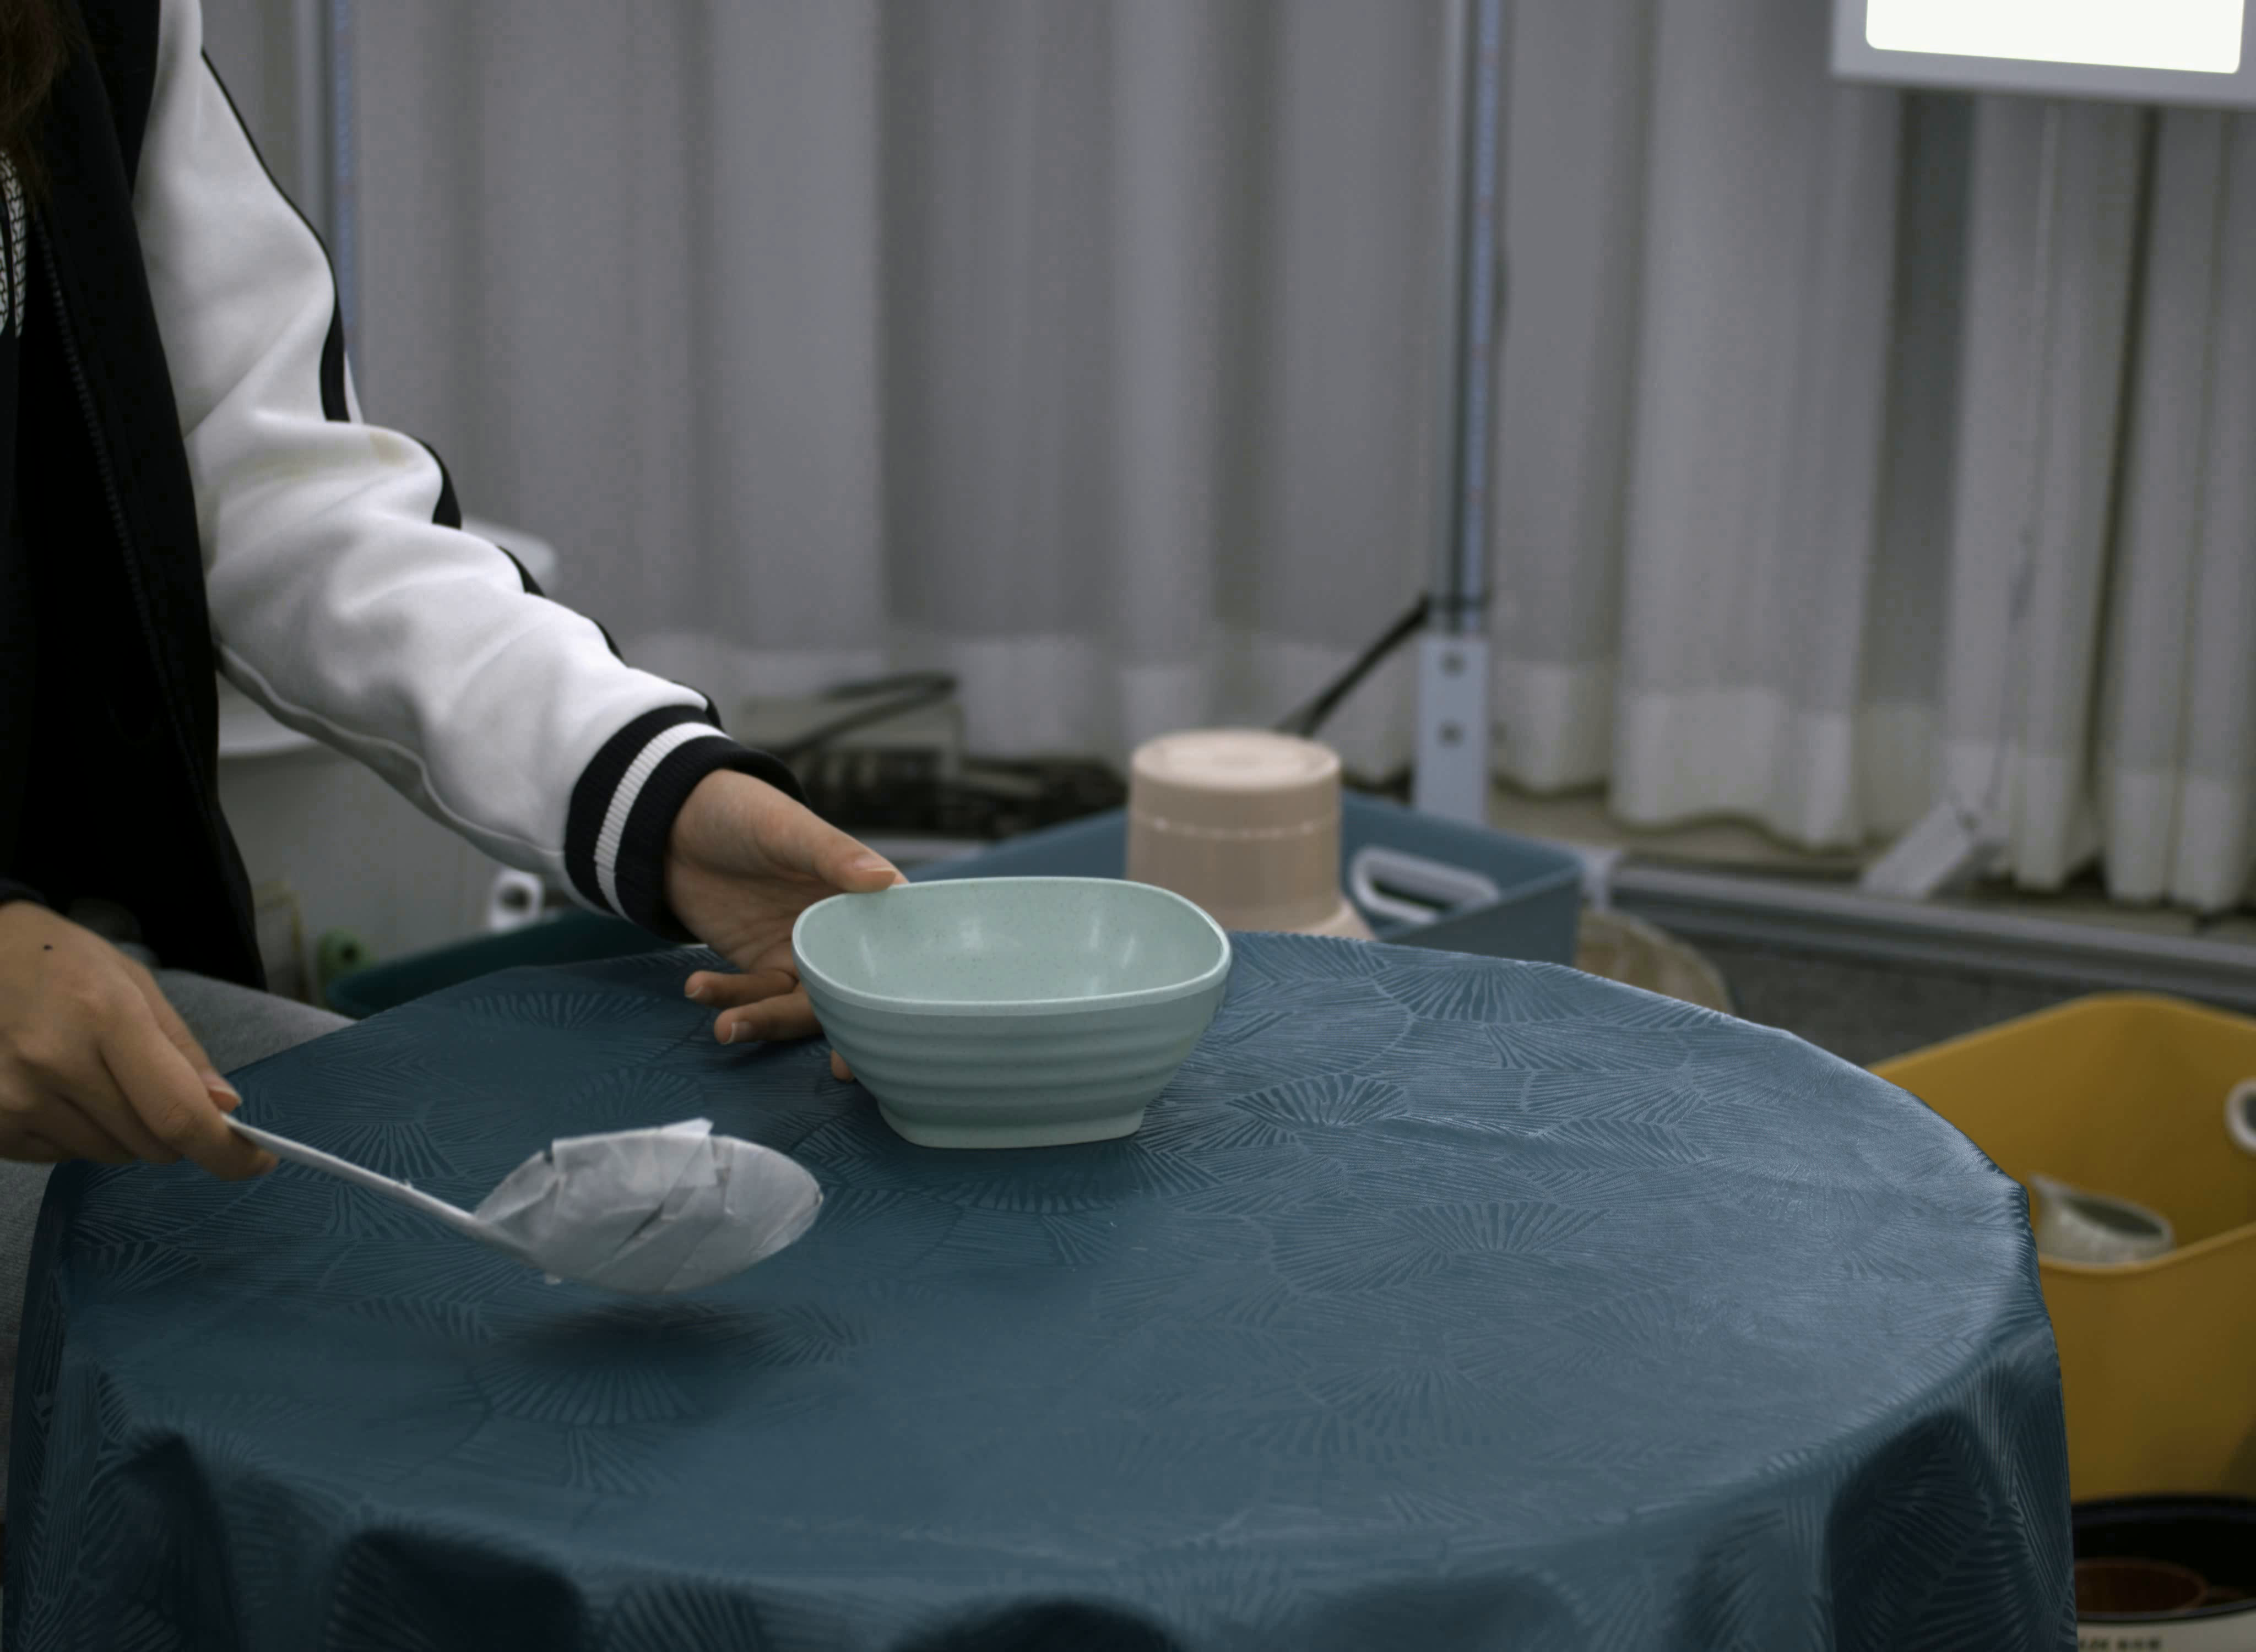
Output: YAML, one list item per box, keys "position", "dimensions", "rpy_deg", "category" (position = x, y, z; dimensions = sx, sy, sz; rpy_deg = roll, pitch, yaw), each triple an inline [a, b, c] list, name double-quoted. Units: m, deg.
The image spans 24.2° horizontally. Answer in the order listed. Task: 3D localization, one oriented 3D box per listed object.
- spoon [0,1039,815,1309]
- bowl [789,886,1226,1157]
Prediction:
- position: [-0.214, 0.085, 1.531]
  dimensions: [0.274, 0.102, 0.059]
  rpy_deg: [17, 62, 31]
  category: "spoon"
- position: [-0.039, 0.066, 1.691]
  dimensions: [0.151, 0.059, 0.150]
  rpy_deg: [1, 15, 0]
  category: "bowl"
